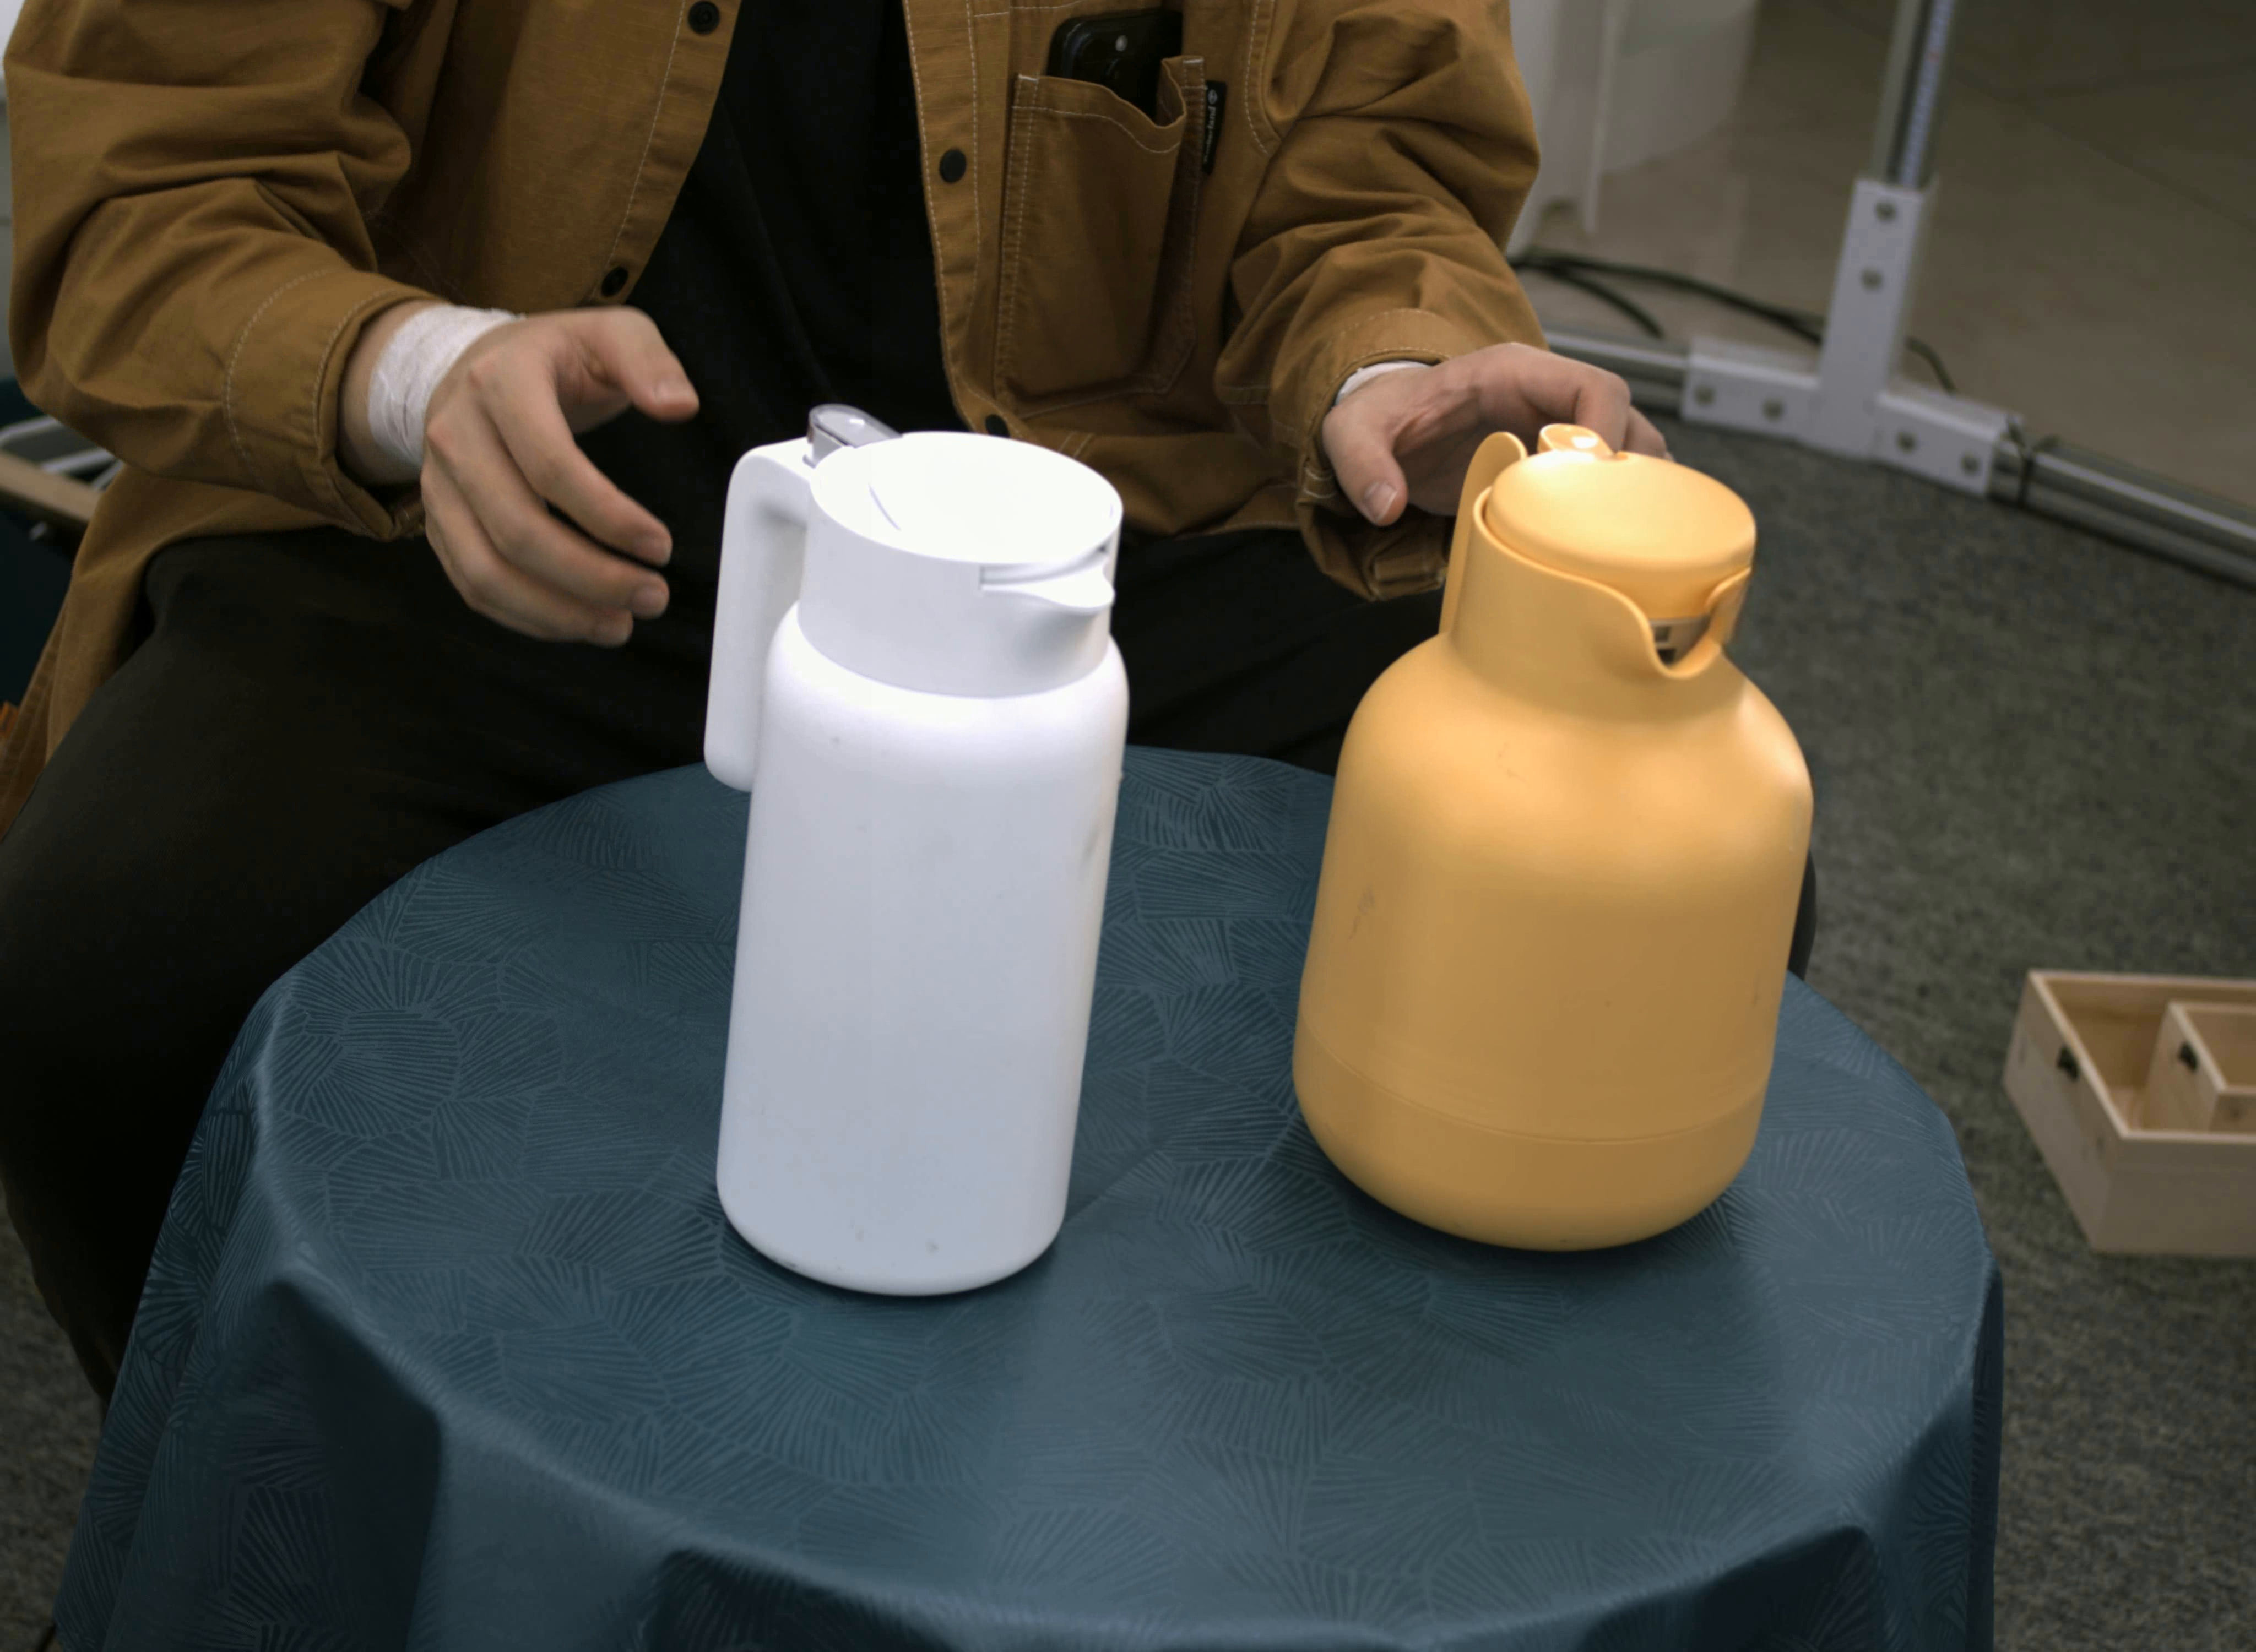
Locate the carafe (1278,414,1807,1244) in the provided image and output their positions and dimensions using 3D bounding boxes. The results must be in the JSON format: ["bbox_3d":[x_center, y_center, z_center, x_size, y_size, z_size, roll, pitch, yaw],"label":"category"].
[{"bbox_3d":[0.143,-0.008,1.806,0.162,0.259,0.204,3,28,-13],"label":"carafe"}]

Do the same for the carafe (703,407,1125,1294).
[{"bbox_3d":[-0.078,0.004,1.727,0.123,0.268,0.174,-18,35,-37],"label":"carafe"}]
